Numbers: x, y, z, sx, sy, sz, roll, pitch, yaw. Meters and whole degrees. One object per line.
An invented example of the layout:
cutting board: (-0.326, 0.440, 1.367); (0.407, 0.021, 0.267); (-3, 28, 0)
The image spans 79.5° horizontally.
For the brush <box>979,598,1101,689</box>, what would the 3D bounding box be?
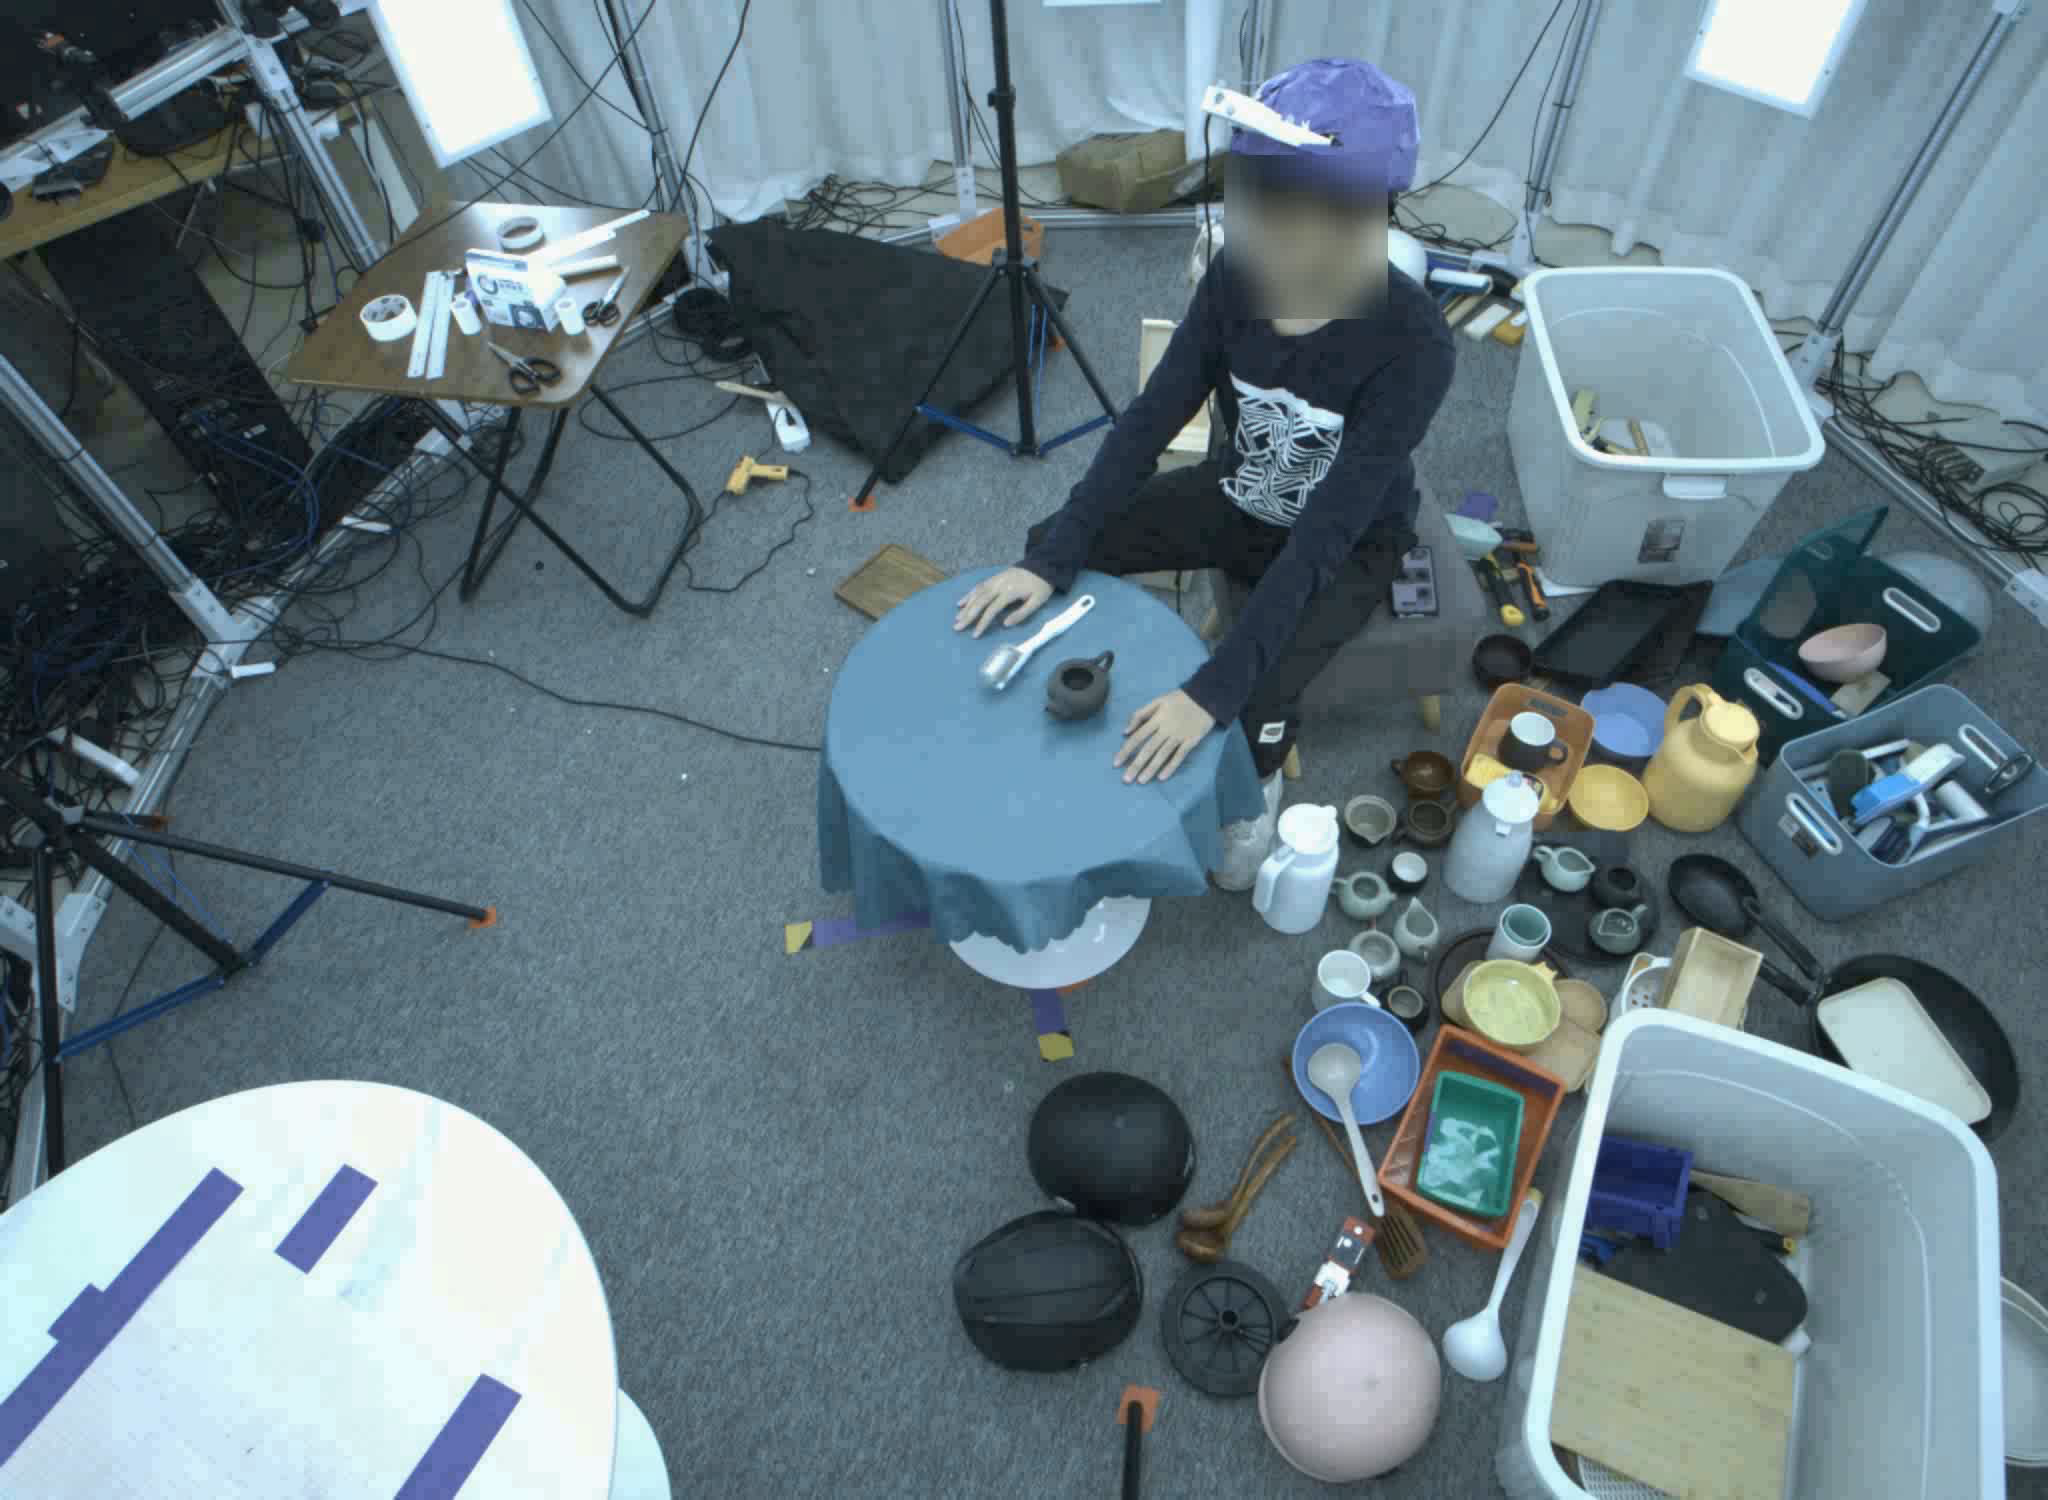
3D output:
brush: (0.028, -0.176, 1.875); (0.245, 0.051, 0.033); (-40, 56, -22)

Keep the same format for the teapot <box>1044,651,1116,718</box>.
teapot: (0.082, -0.093, 1.805); (0.091, 0.065, 0.155); (35, 62, 25)
